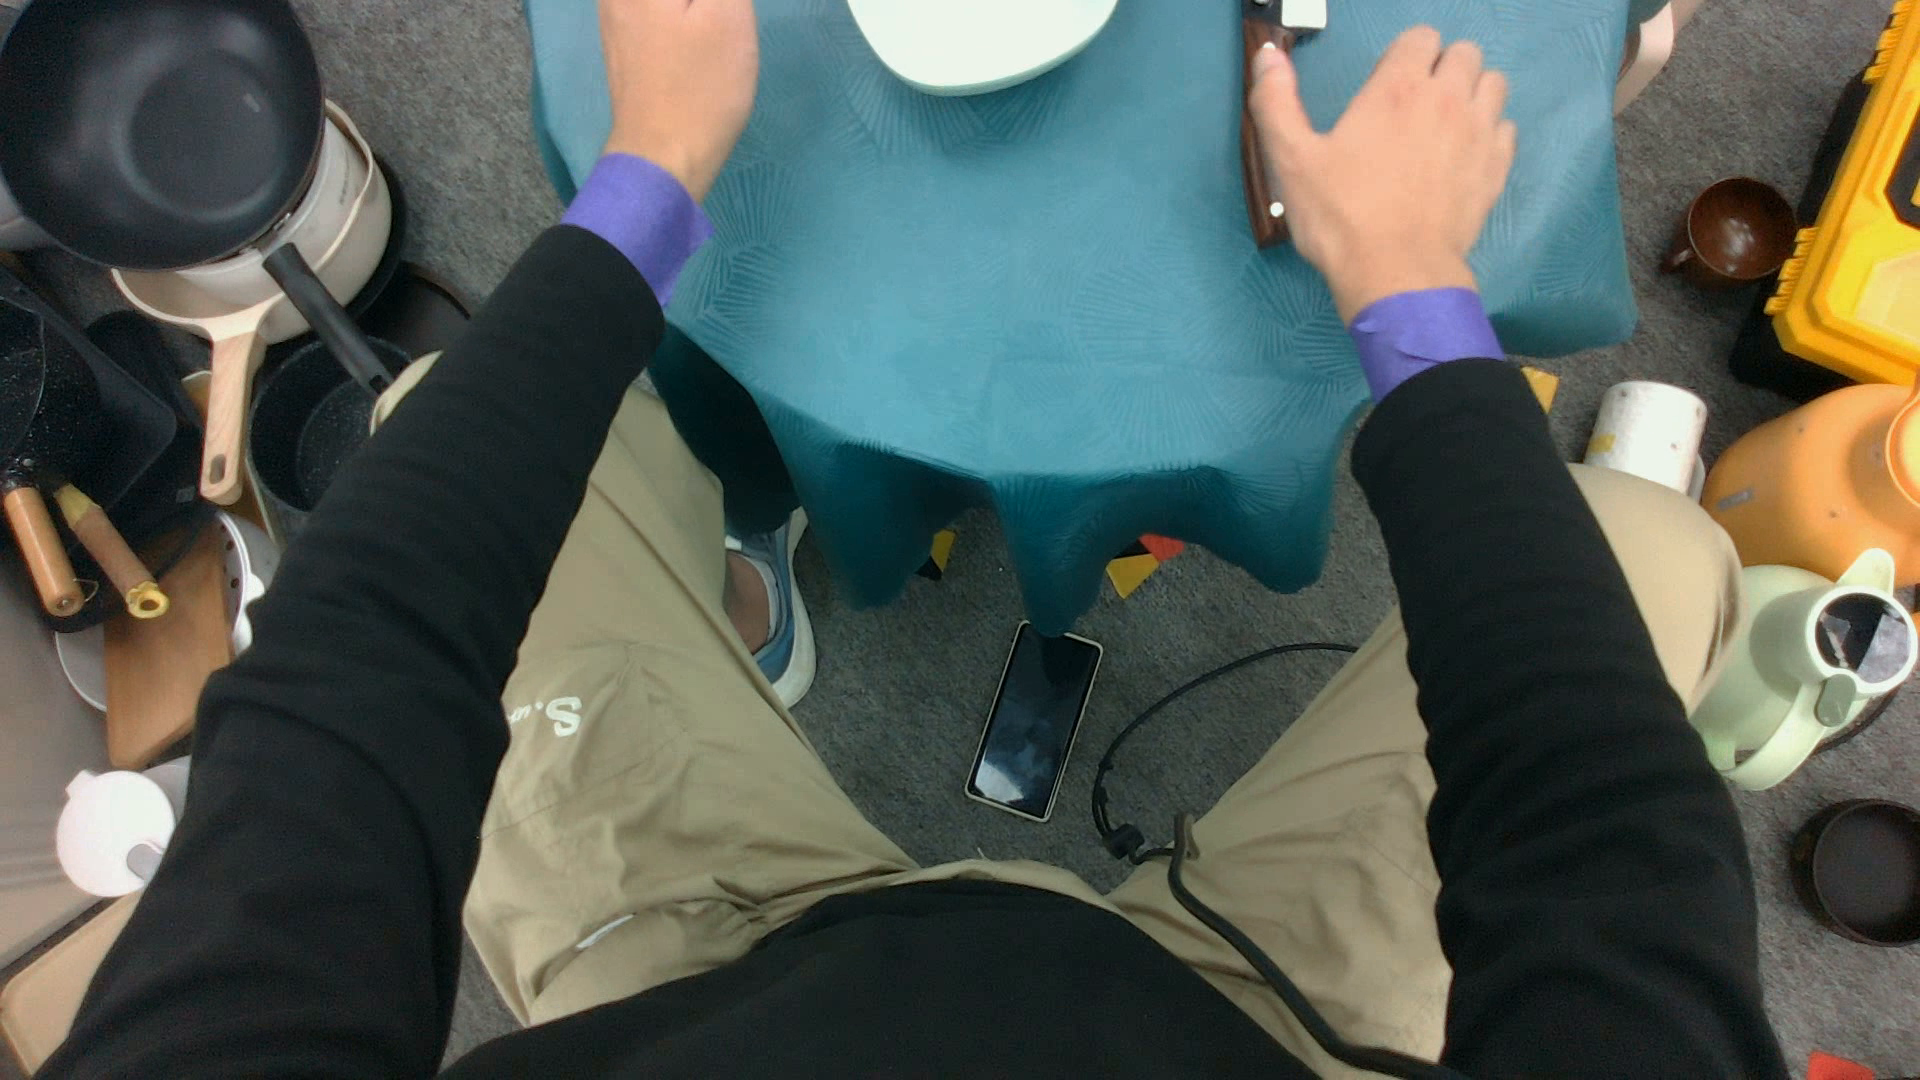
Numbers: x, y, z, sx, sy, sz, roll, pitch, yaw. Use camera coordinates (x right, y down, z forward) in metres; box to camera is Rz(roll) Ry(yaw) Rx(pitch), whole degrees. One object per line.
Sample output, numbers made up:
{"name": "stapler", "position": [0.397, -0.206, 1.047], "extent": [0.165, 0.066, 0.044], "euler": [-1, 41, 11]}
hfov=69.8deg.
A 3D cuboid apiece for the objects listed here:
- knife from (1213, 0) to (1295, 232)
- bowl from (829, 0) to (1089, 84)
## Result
{"name": "knife", "position": [0.156, -0.300, 0.735], "extent": [0.050, 0.020, 0.289], "euler": [3, 78, -2]}
{"name": "bowl", "position": [-0.002, -0.296, 0.721], "extent": [0.151, 0.058, 0.151], "euler": [-1, 78, 3]}
